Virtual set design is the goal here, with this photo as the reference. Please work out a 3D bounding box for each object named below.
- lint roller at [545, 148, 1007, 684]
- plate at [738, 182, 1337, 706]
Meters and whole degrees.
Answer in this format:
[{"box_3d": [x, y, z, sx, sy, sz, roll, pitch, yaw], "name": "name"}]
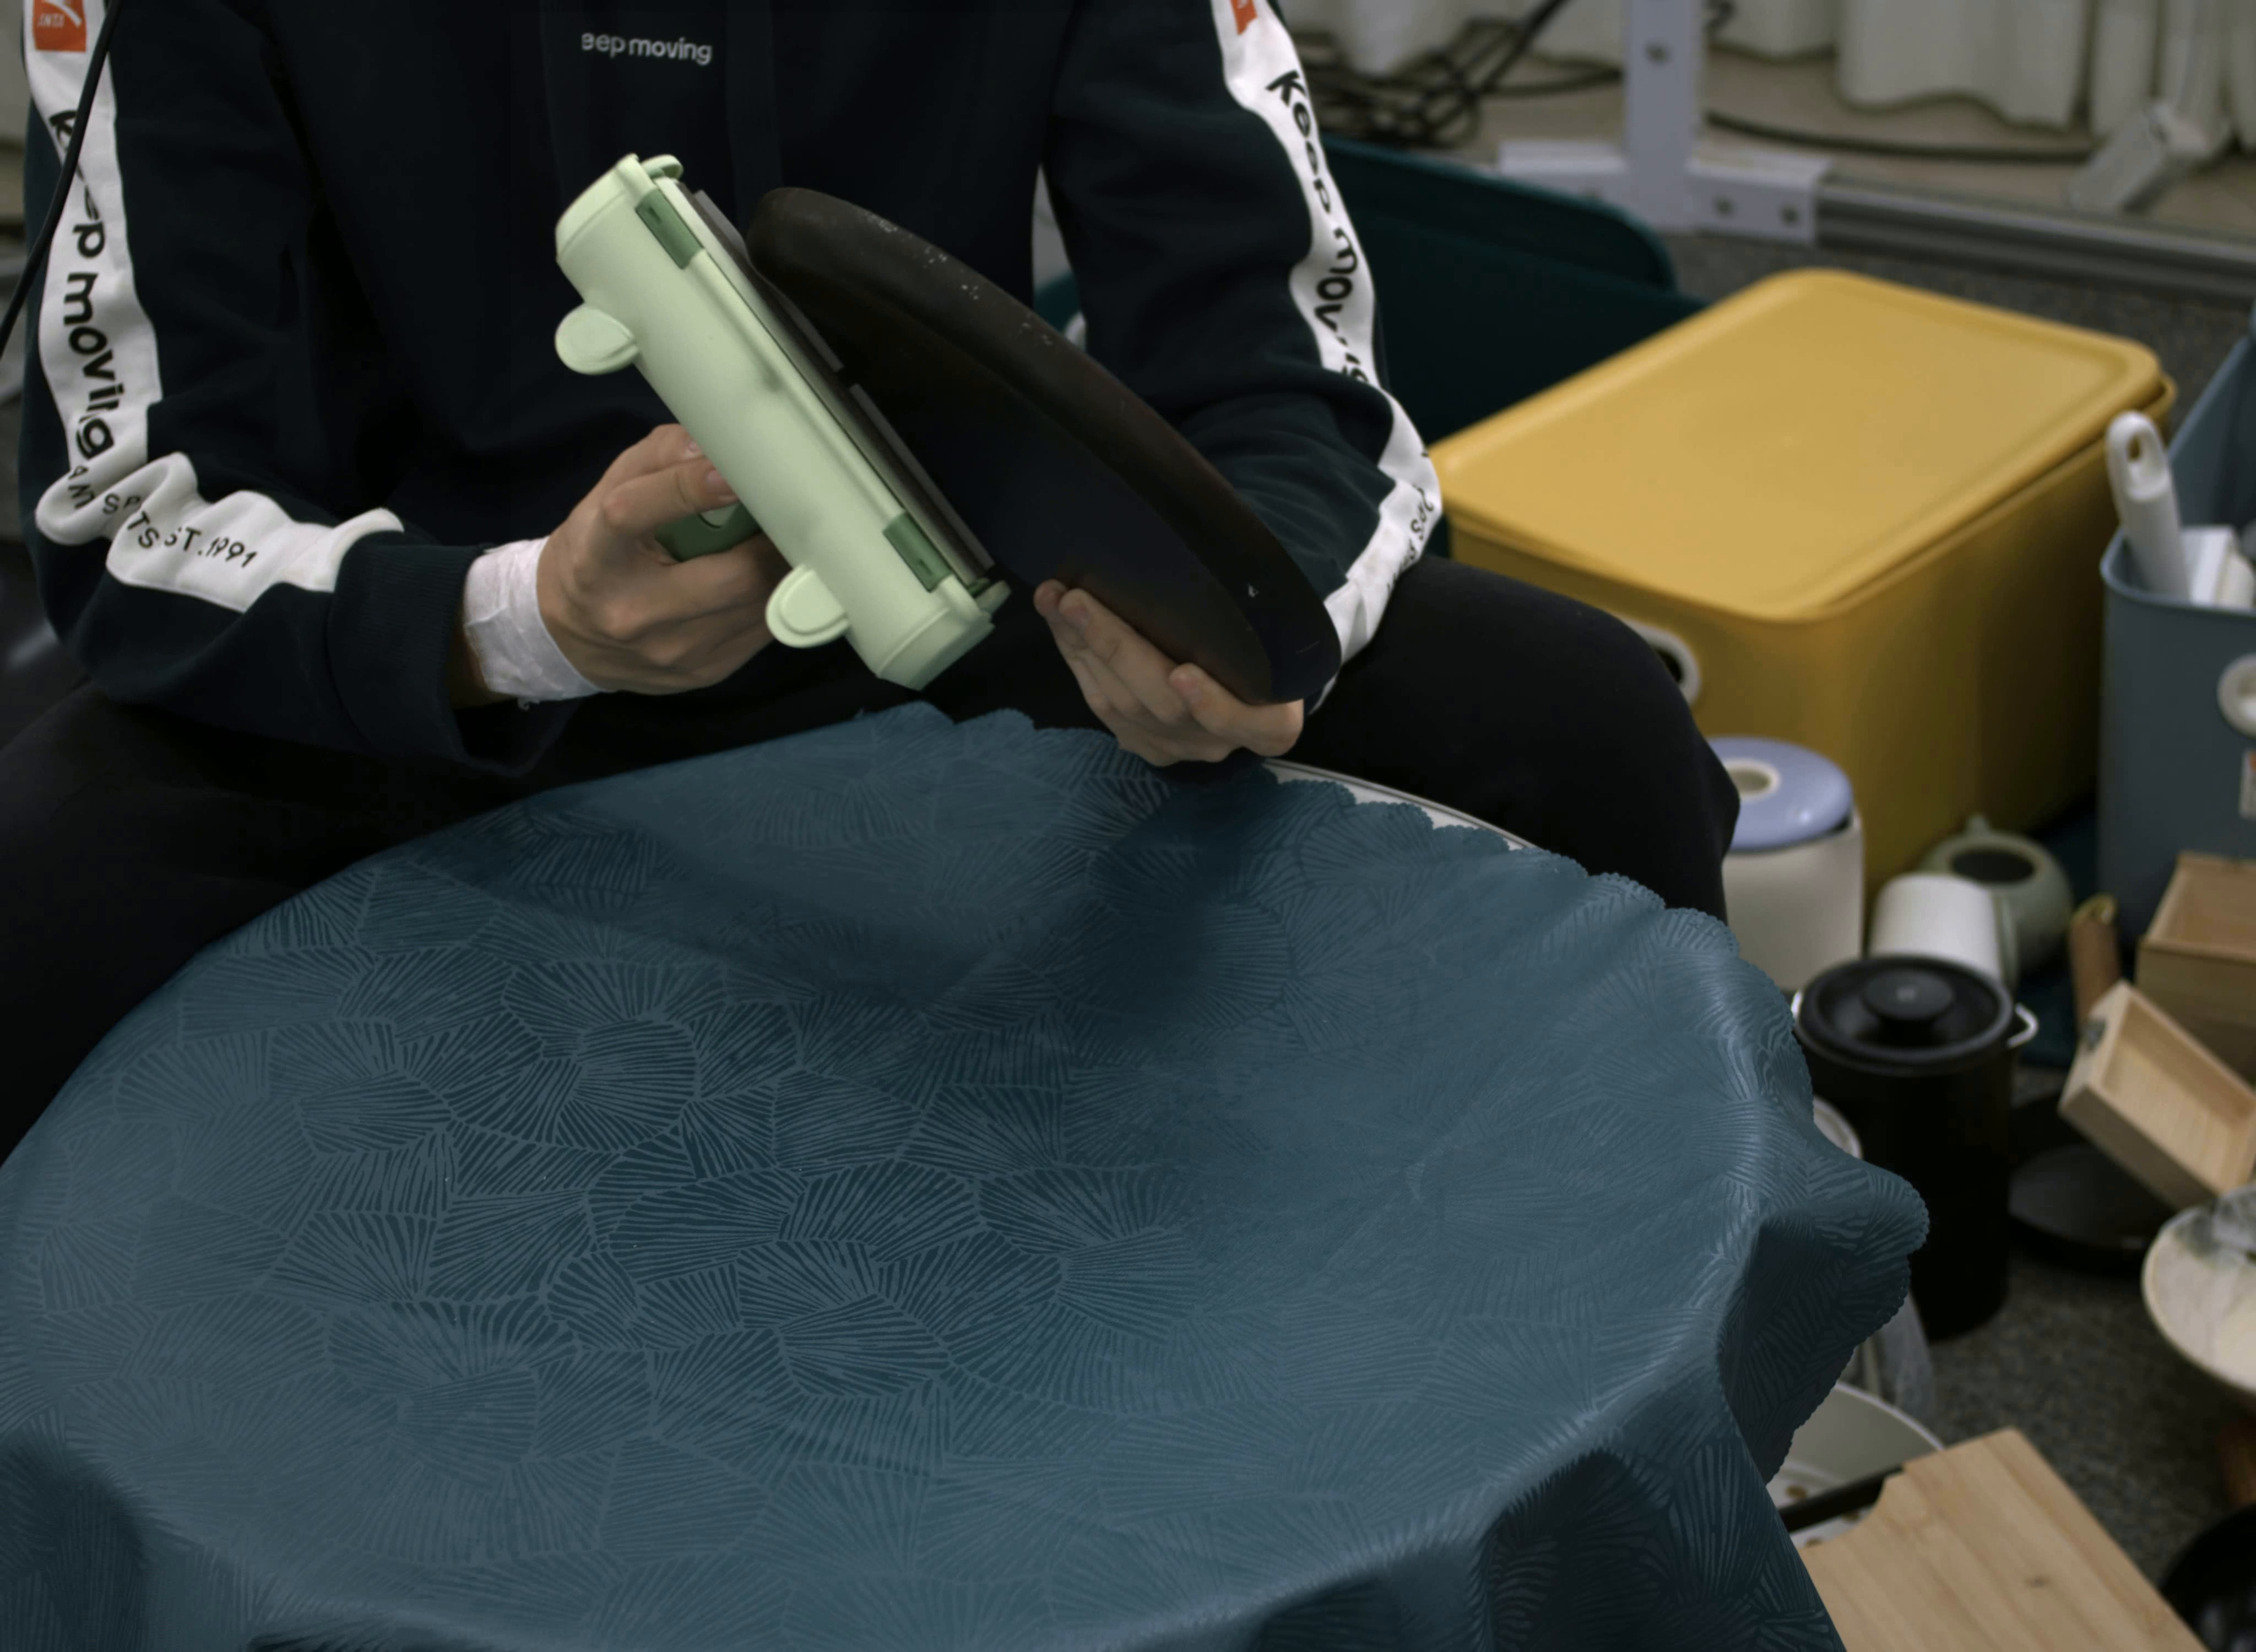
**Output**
[{"box_3d": [-0.146, -0.110, 1.914, 0.083, 0.180, 0.199, -34, 84, -37], "name": "lint roller"}, {"box_3d": [-0.034, -0.124, 1.900, 0.255, 0.252, 0.029, 28, 76, 45], "name": "plate"}]
